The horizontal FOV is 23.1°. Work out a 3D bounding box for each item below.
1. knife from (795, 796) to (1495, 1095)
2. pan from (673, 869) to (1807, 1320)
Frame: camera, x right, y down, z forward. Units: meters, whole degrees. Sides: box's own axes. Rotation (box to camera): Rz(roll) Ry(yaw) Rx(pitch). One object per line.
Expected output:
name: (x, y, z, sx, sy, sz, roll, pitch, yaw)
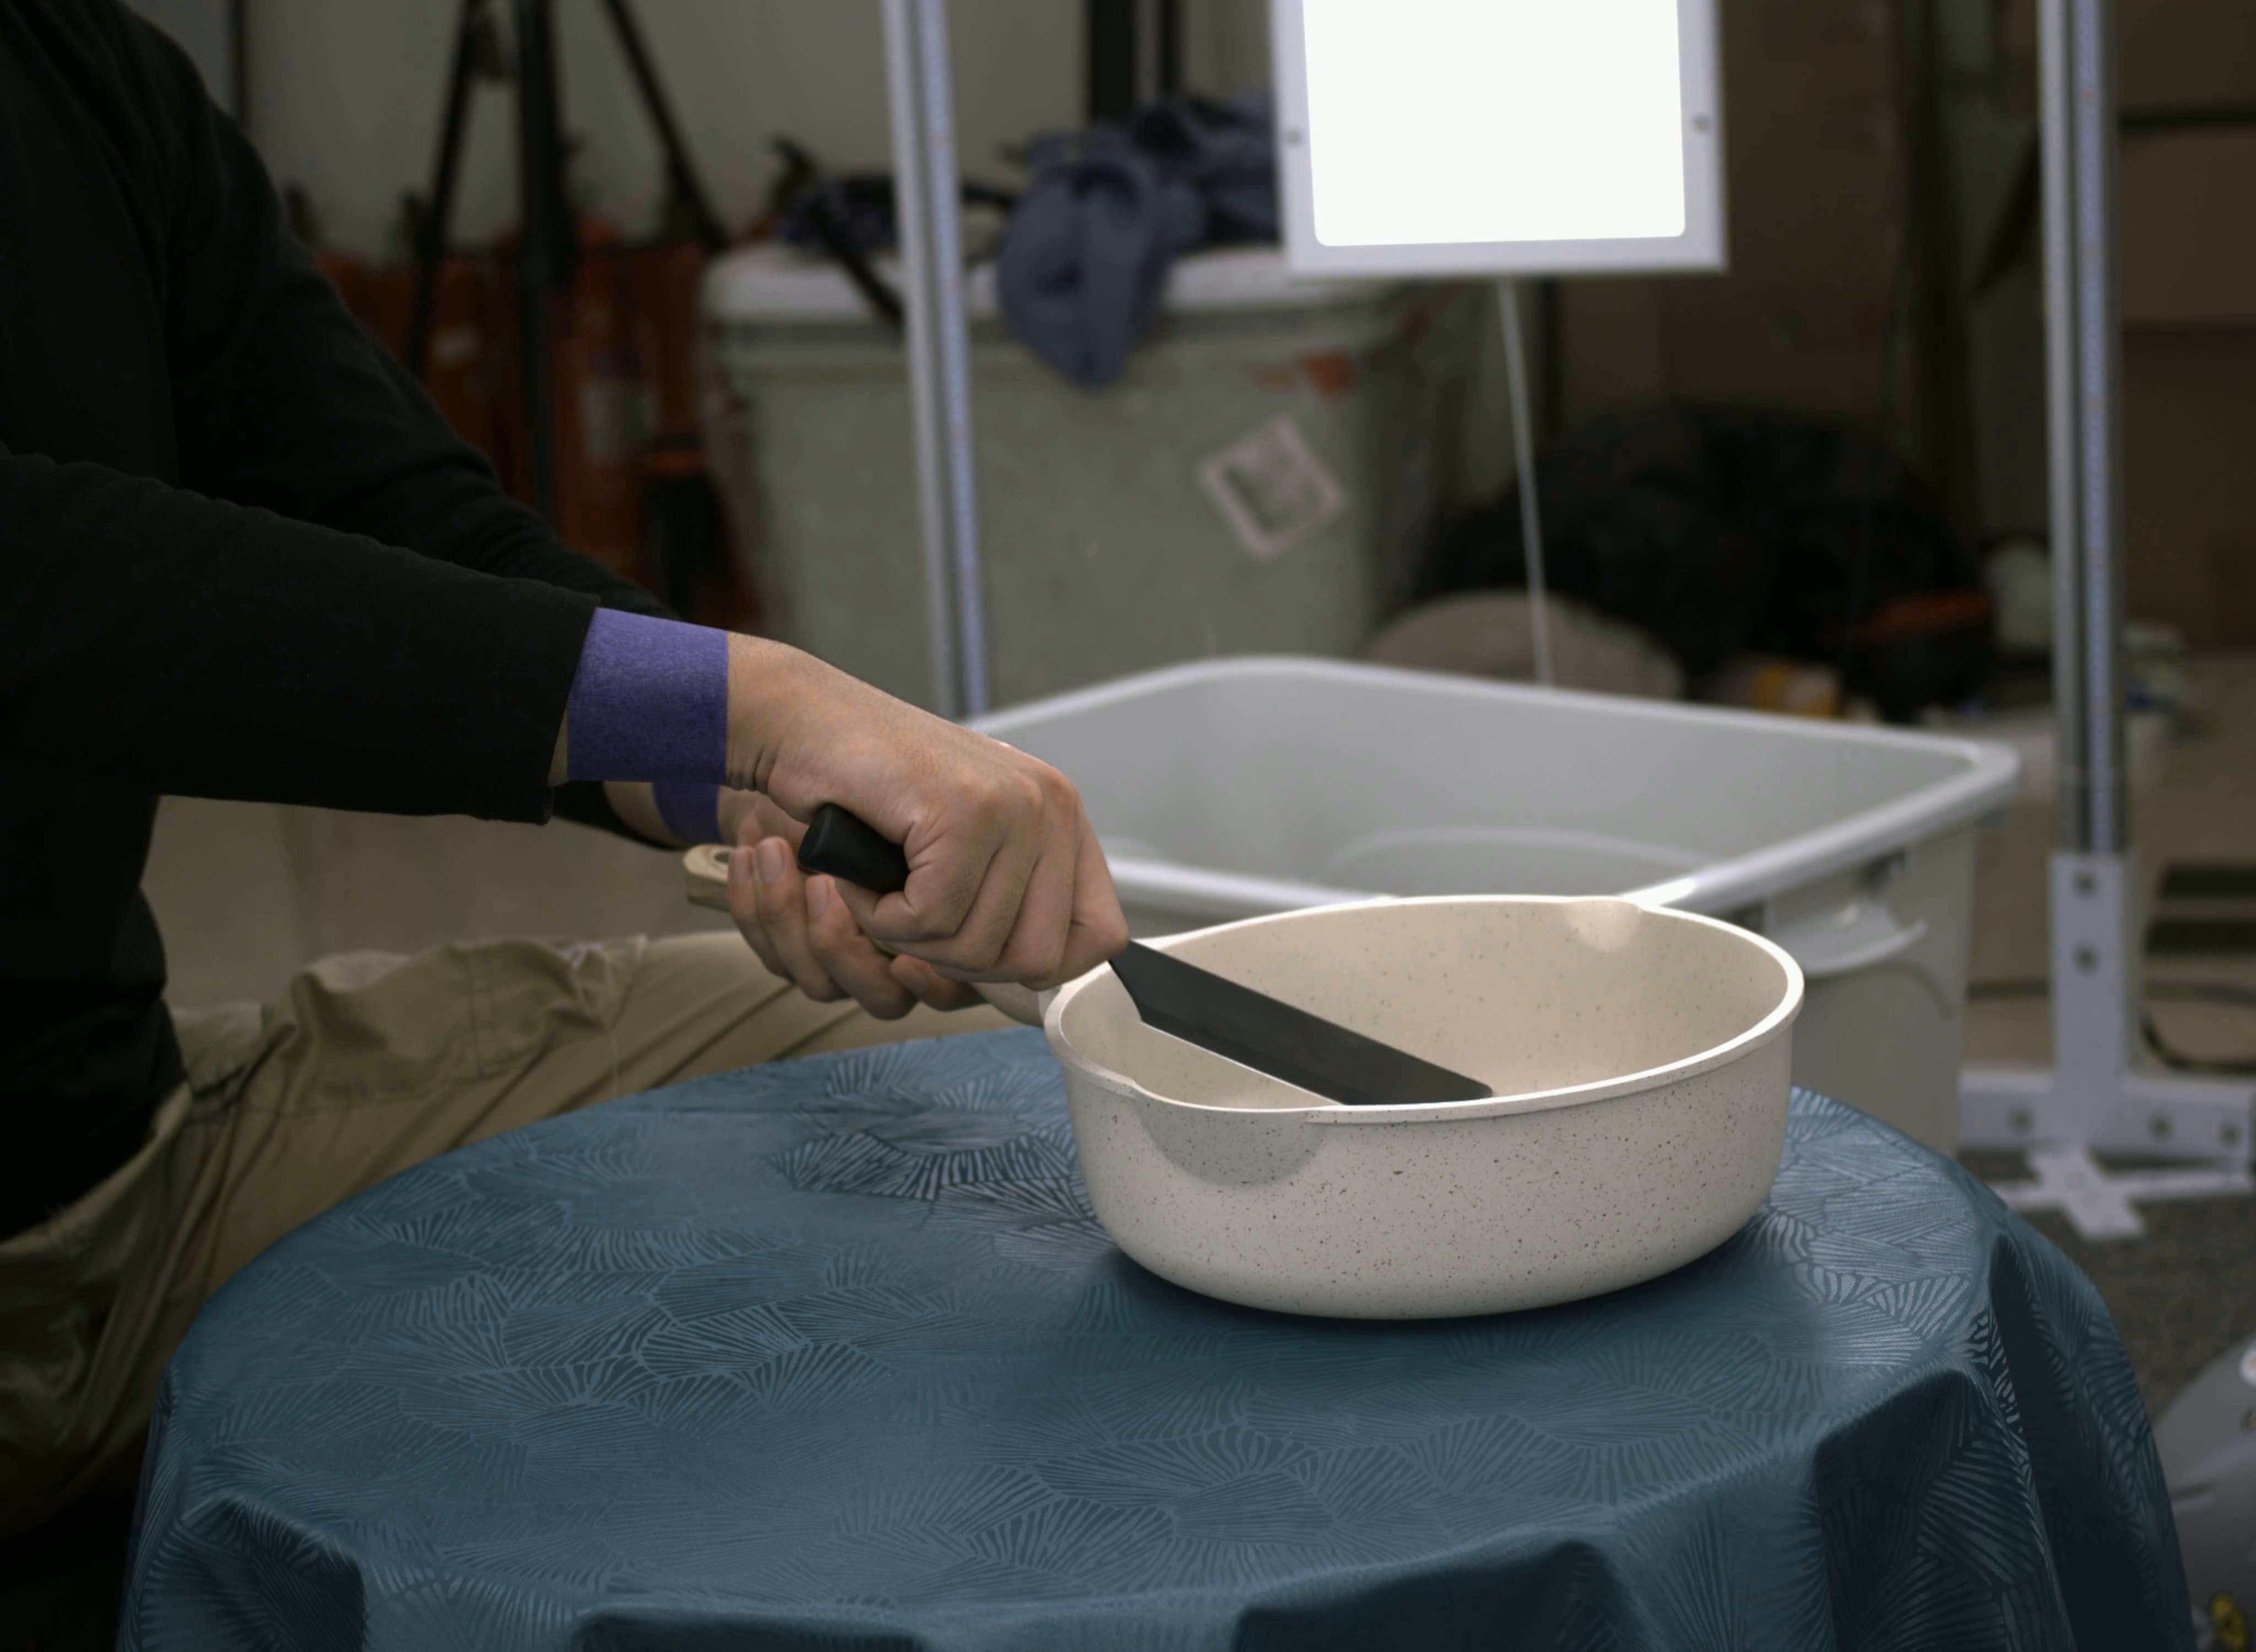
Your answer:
knife: (0.018, 0.054, 1.791, 0.297, 0.021, 0.081, 24, 18, -27)
pan: (0.026, 0.079, 1.877, 0.444, 0.102, 0.257, 5, 19, 35)
